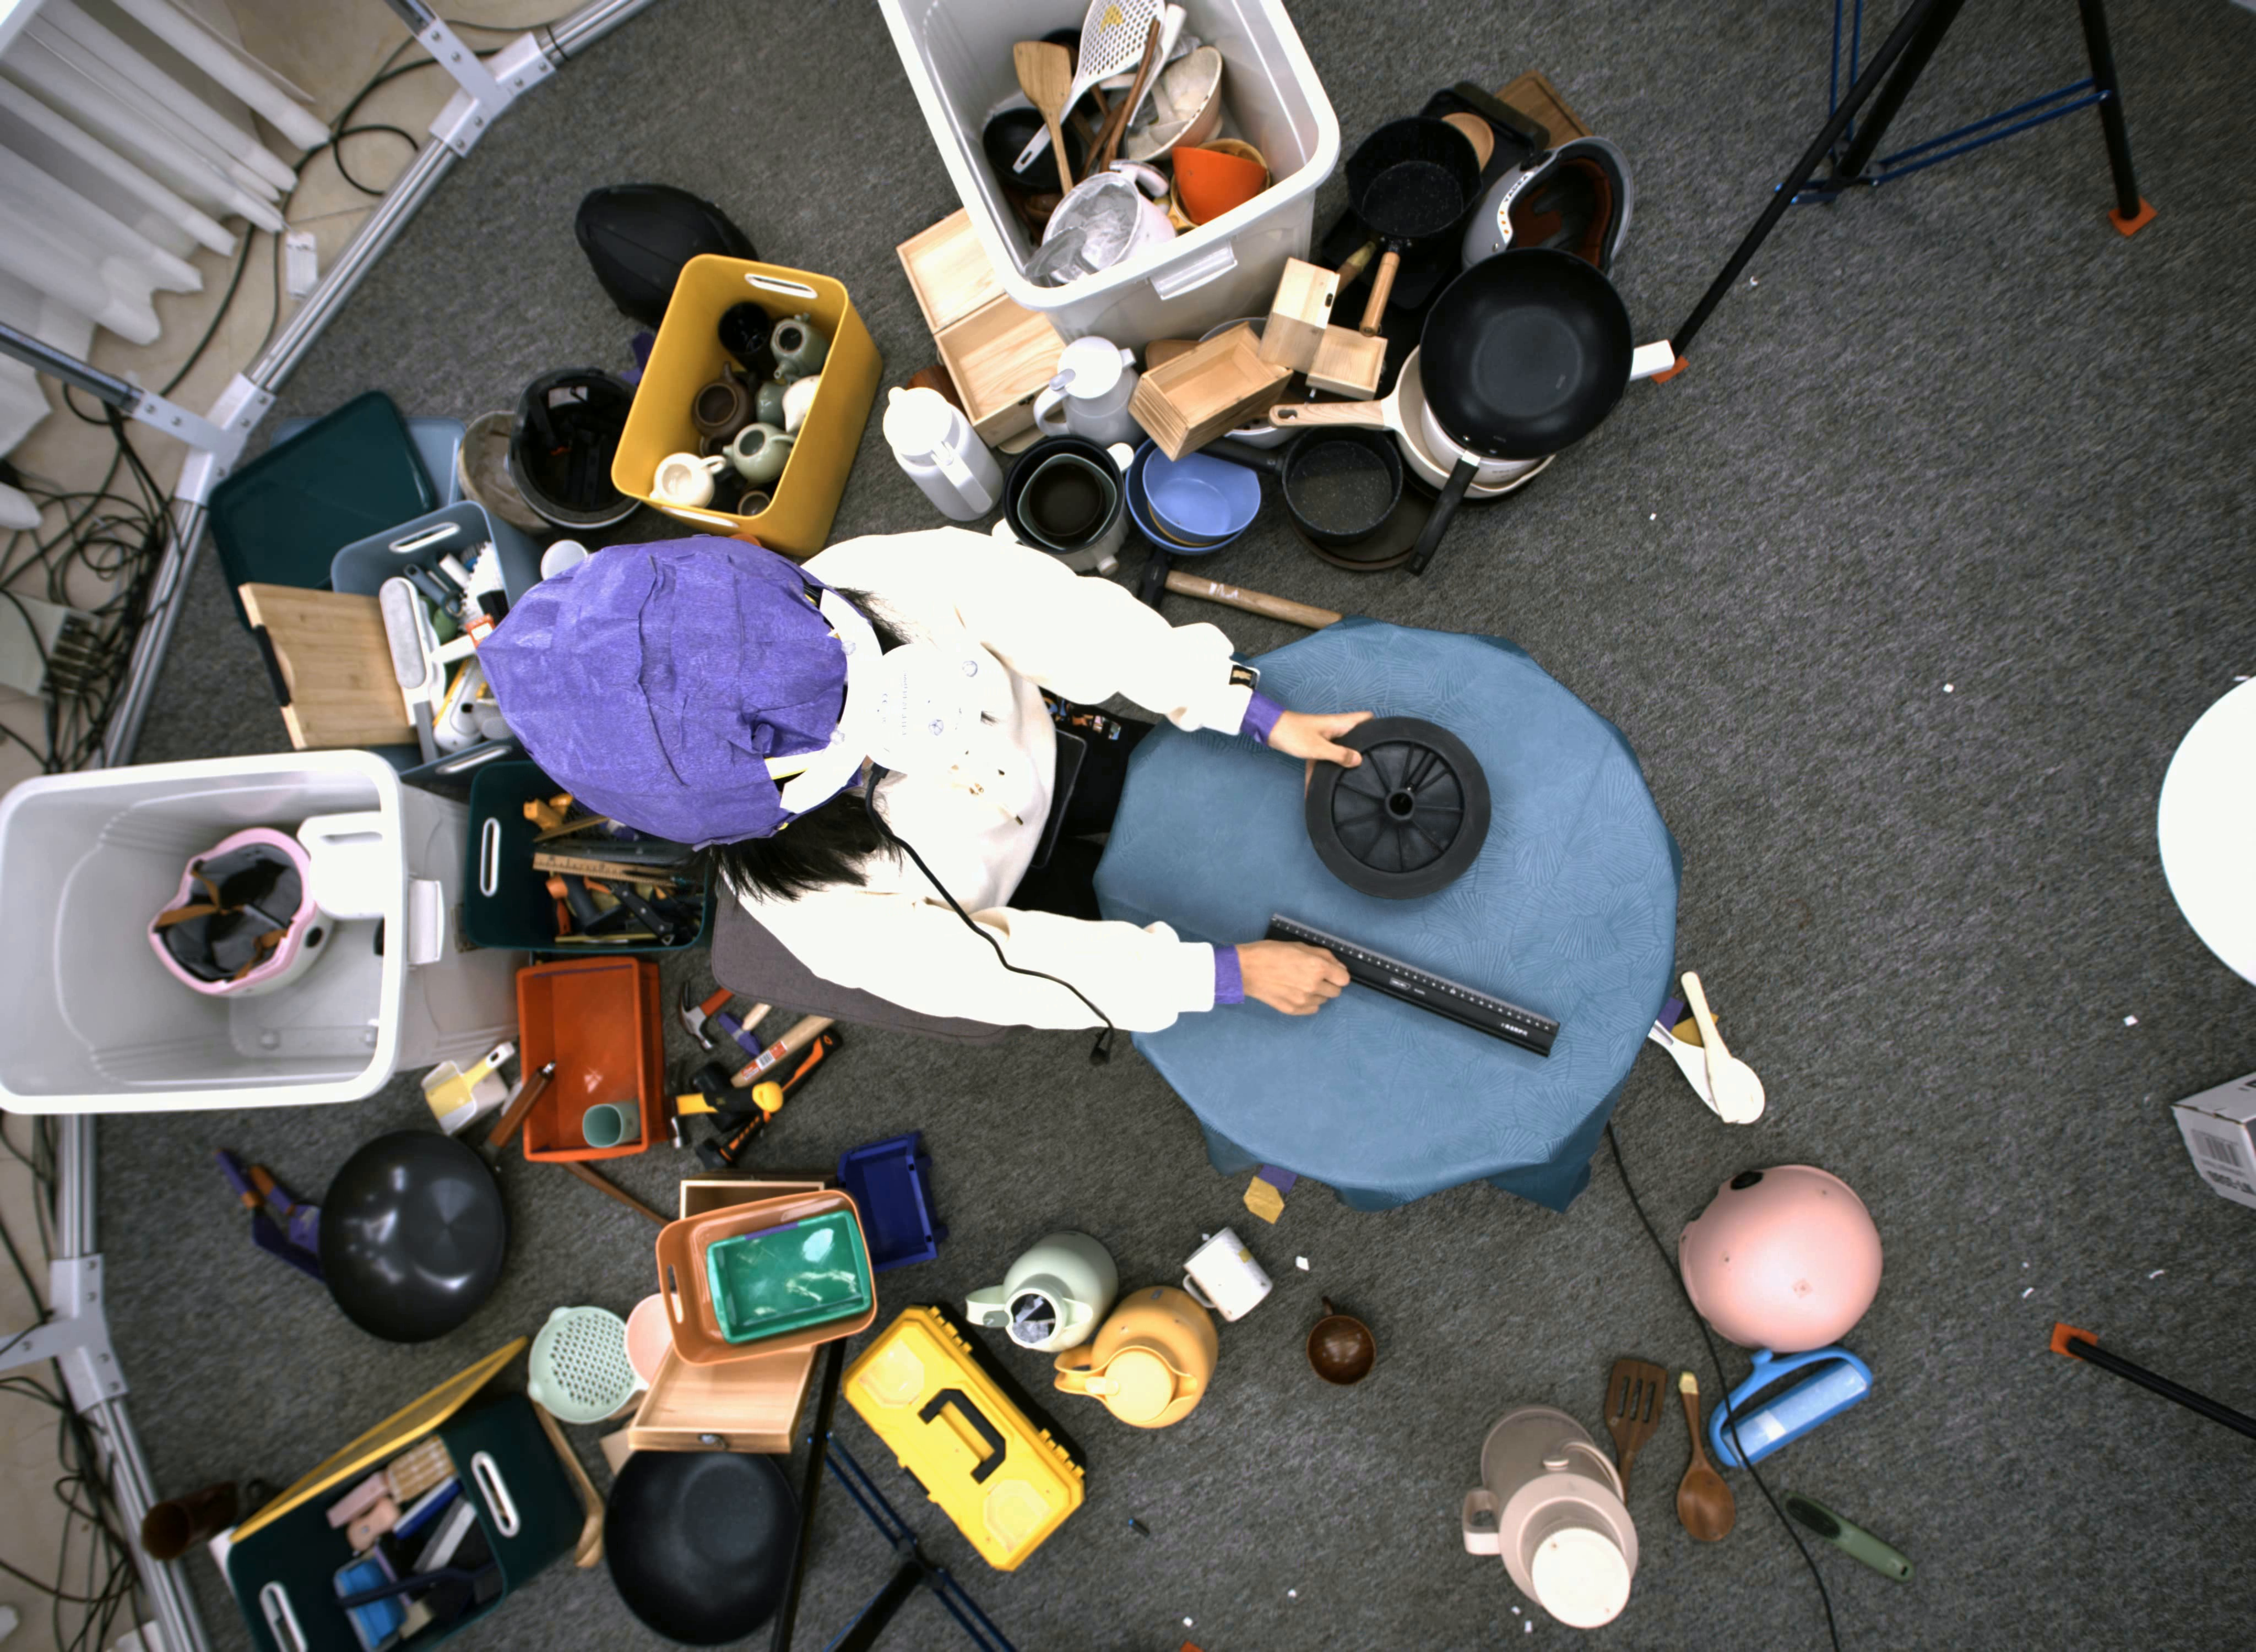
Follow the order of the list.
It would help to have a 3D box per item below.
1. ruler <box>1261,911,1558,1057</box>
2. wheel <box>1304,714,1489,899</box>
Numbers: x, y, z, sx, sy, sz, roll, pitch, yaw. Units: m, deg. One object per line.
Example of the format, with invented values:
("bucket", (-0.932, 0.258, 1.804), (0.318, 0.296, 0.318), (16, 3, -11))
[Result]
("ruler", (0.286, 0.160, 1.417), (0.312, 0.017, 0.039), (21, 94, 13))
("wheel", (0.271, -0.022, 1.389), (0.188, 0.079, 0.190), (11, 91, 8))
